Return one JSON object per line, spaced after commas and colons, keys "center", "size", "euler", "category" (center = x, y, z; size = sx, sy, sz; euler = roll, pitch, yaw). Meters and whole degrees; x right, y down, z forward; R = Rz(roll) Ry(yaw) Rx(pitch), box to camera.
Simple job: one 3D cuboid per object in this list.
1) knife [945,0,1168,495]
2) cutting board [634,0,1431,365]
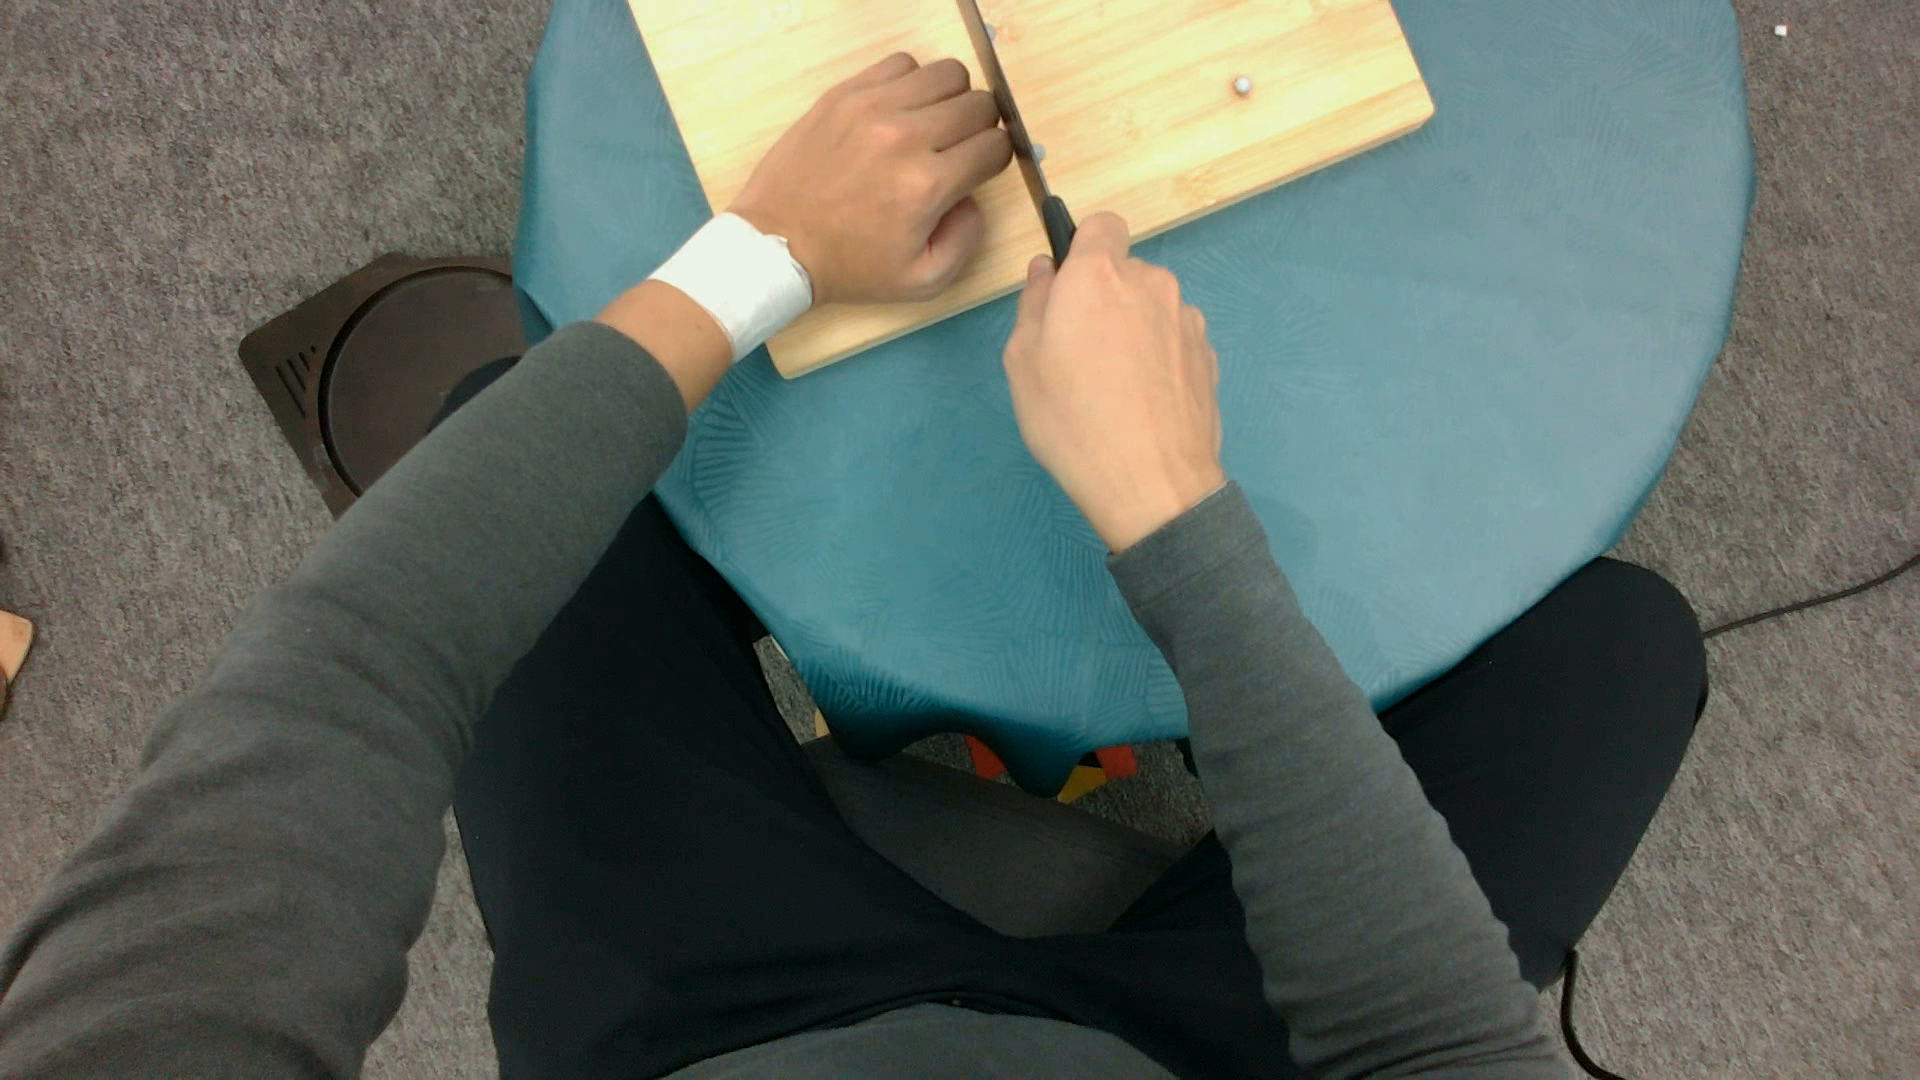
{"center": [0.024, -0.161, 0.582], "size": [0.021, 0.081, 0.302], "euler": [-21, 83, 3], "category": "knife"}
{"center": [0.024, -0.258, 0.674], "size": [0.349, 0.023, 0.251], "euler": [-23, 87, -3], "category": "cutting board"}
